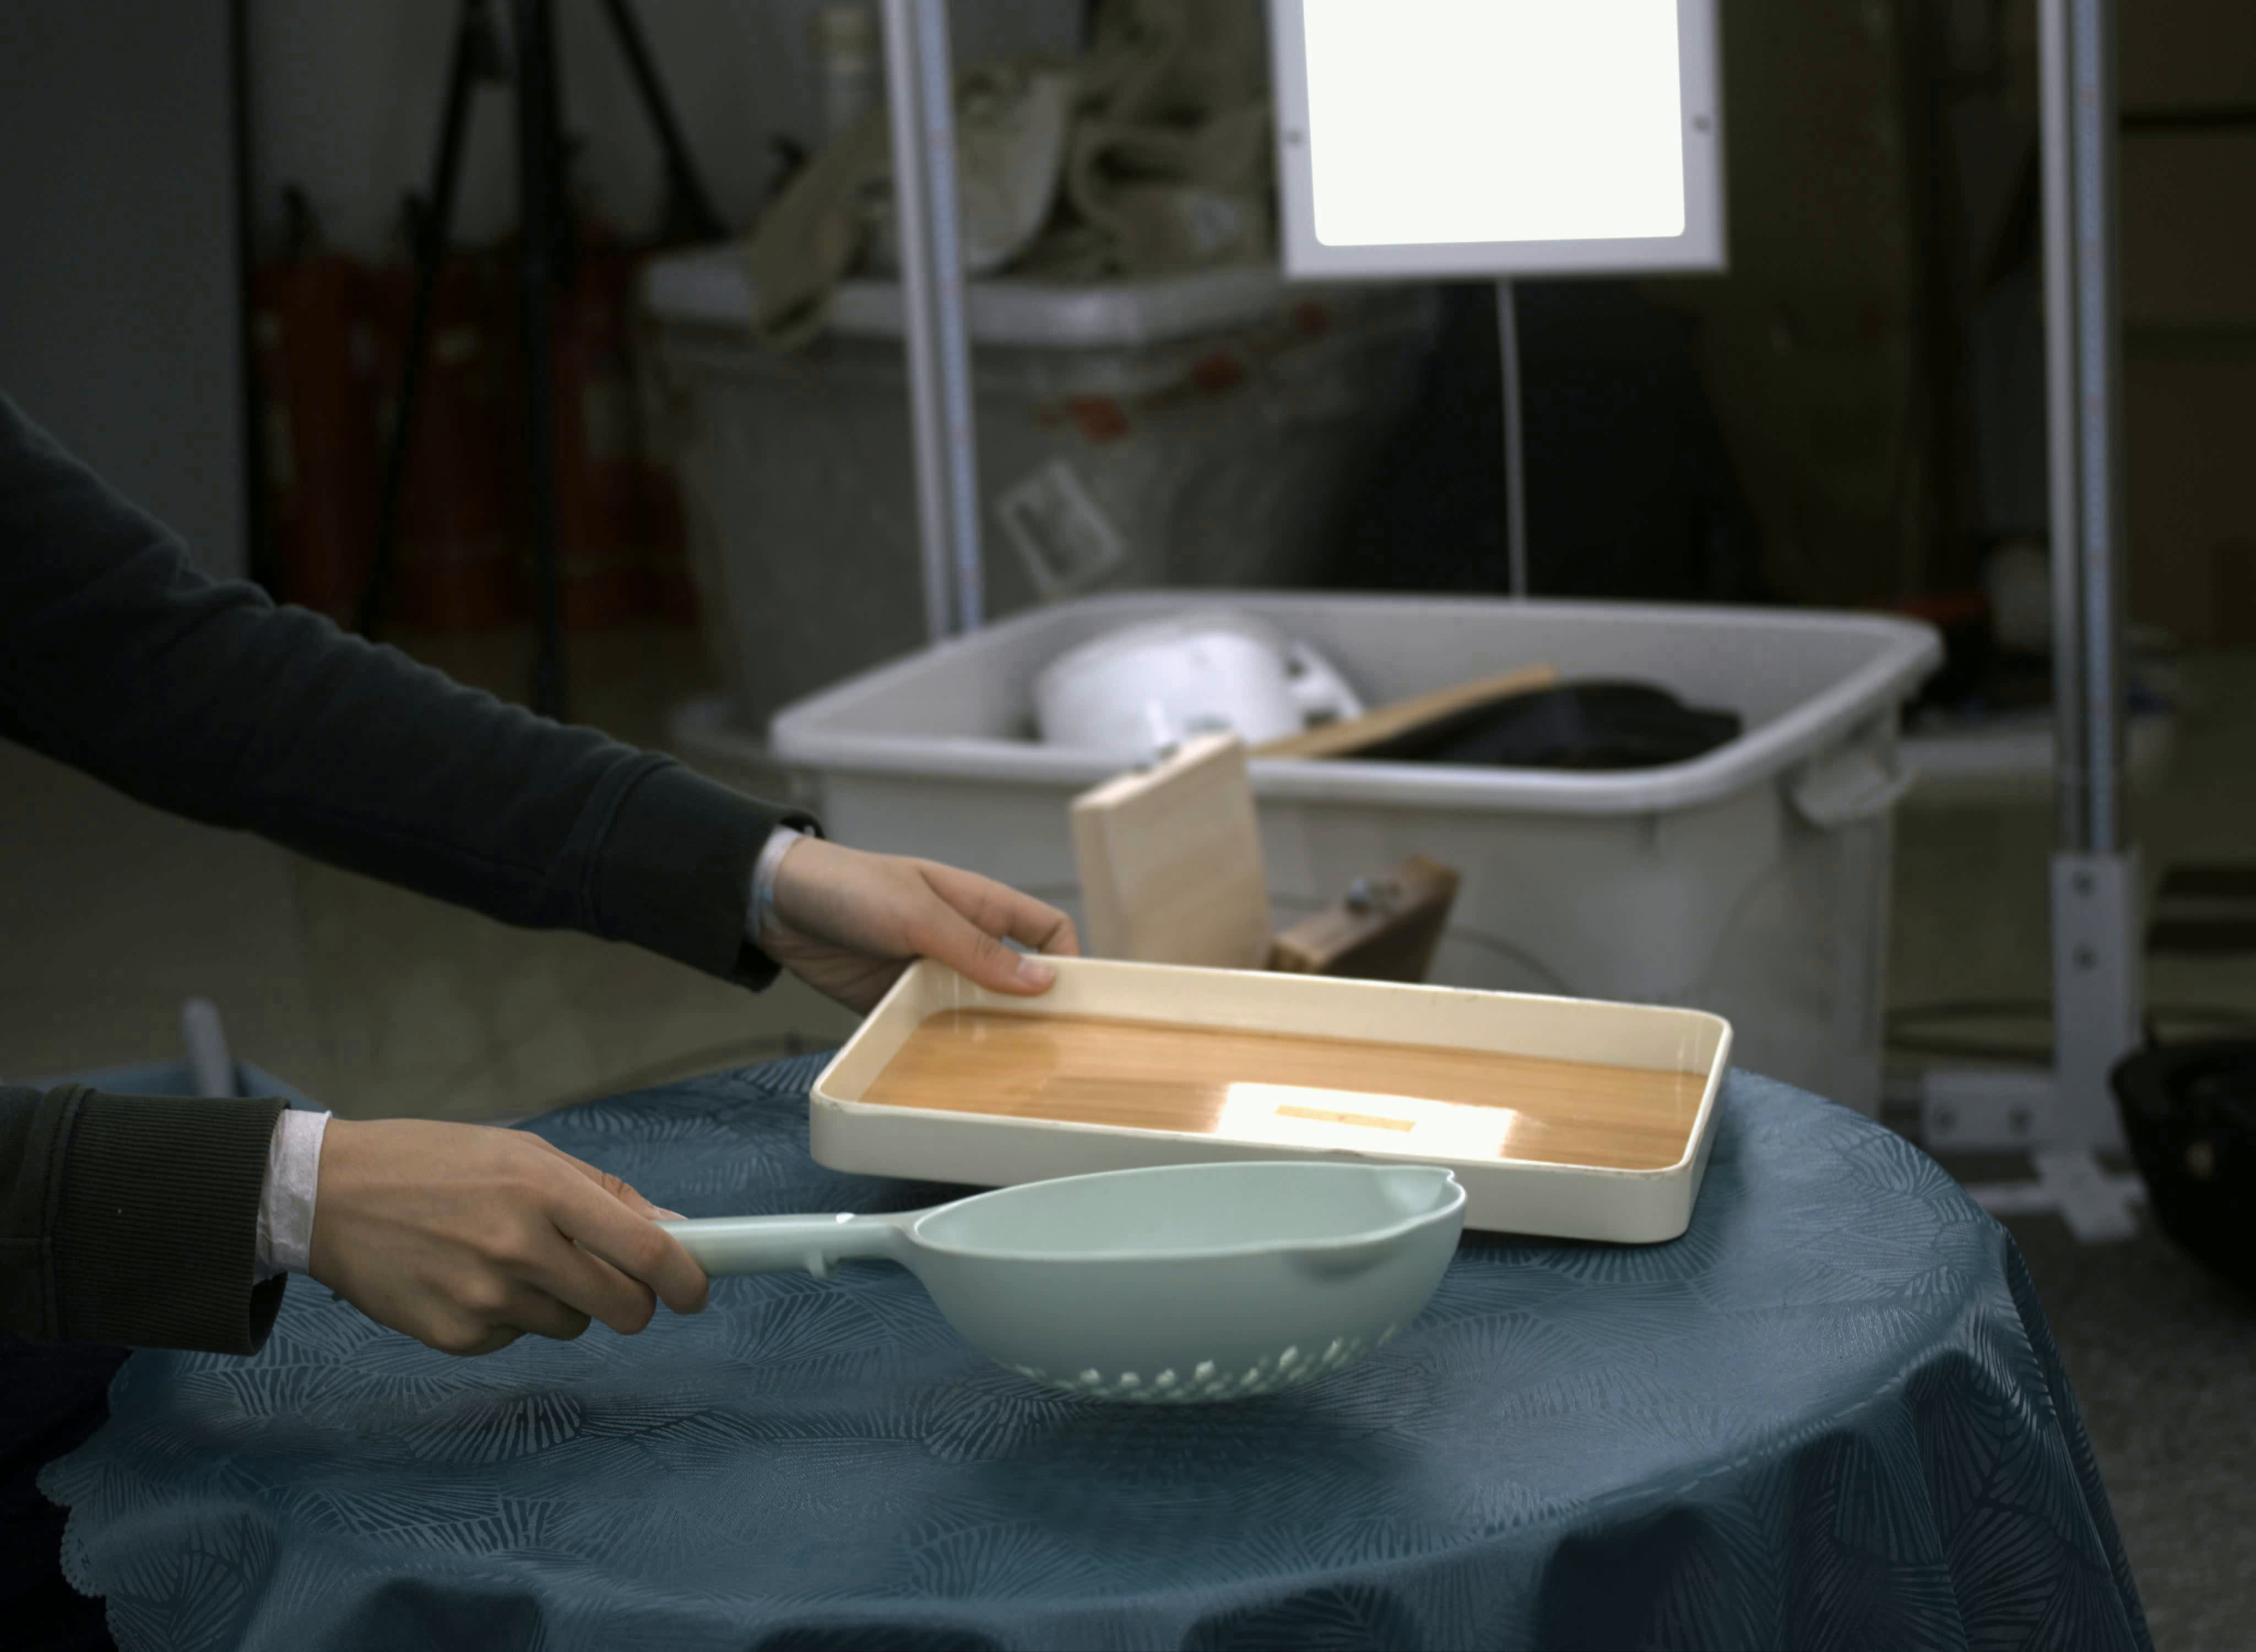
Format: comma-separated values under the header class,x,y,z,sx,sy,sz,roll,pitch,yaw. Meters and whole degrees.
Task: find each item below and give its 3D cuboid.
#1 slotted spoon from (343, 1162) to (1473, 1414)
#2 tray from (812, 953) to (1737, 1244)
class,x,y,z,sx,sy,sz,roll,pitch,yaw
slotted spoon,-0.073,0.134,1.697,0.362,0.076,0.167,6,7,16
tray,0.054,0.092,1.904,0.302,0.027,0.189,4,15,12
